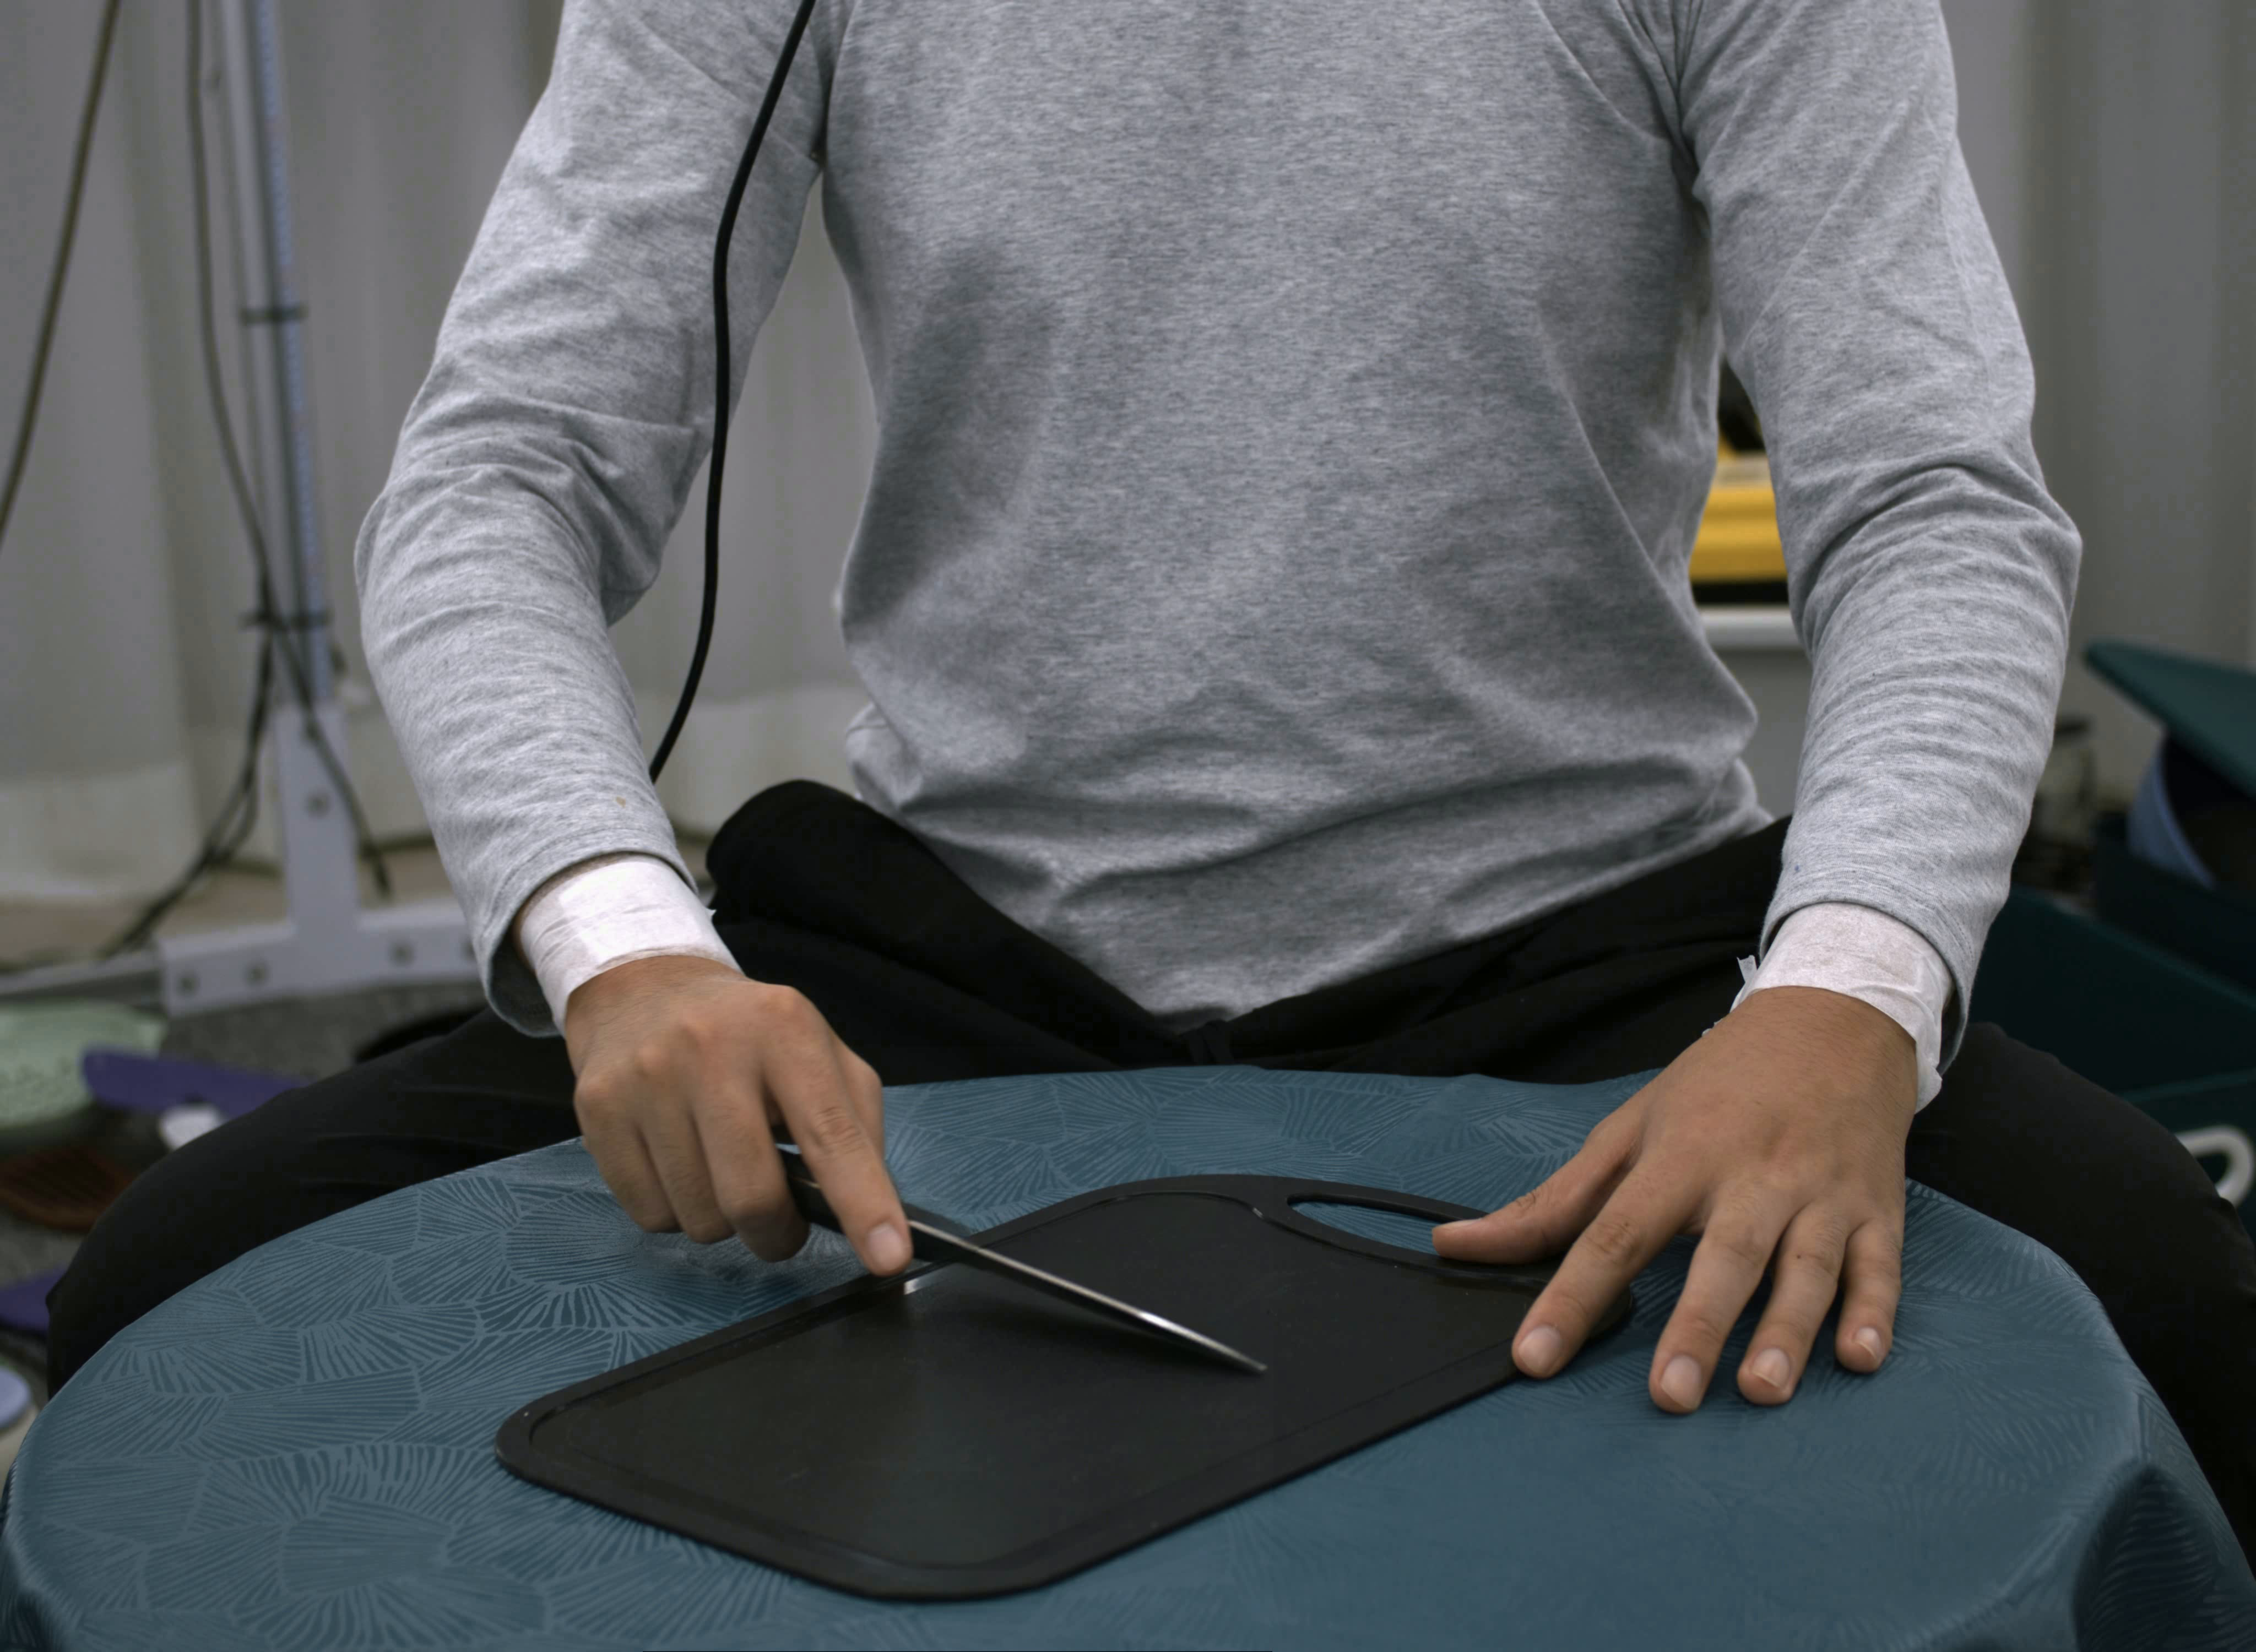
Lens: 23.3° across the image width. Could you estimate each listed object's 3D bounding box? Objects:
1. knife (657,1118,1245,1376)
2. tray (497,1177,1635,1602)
[{"bbox_3d":[-0.053,0.126,1.616,0.240,0.016,0.024,19,-13,36],"label":"knife"},{"bbox_3d":[-0.009,0.152,1.567,0.212,0.010,0.325,12,21,43],"label":"tray"}]
